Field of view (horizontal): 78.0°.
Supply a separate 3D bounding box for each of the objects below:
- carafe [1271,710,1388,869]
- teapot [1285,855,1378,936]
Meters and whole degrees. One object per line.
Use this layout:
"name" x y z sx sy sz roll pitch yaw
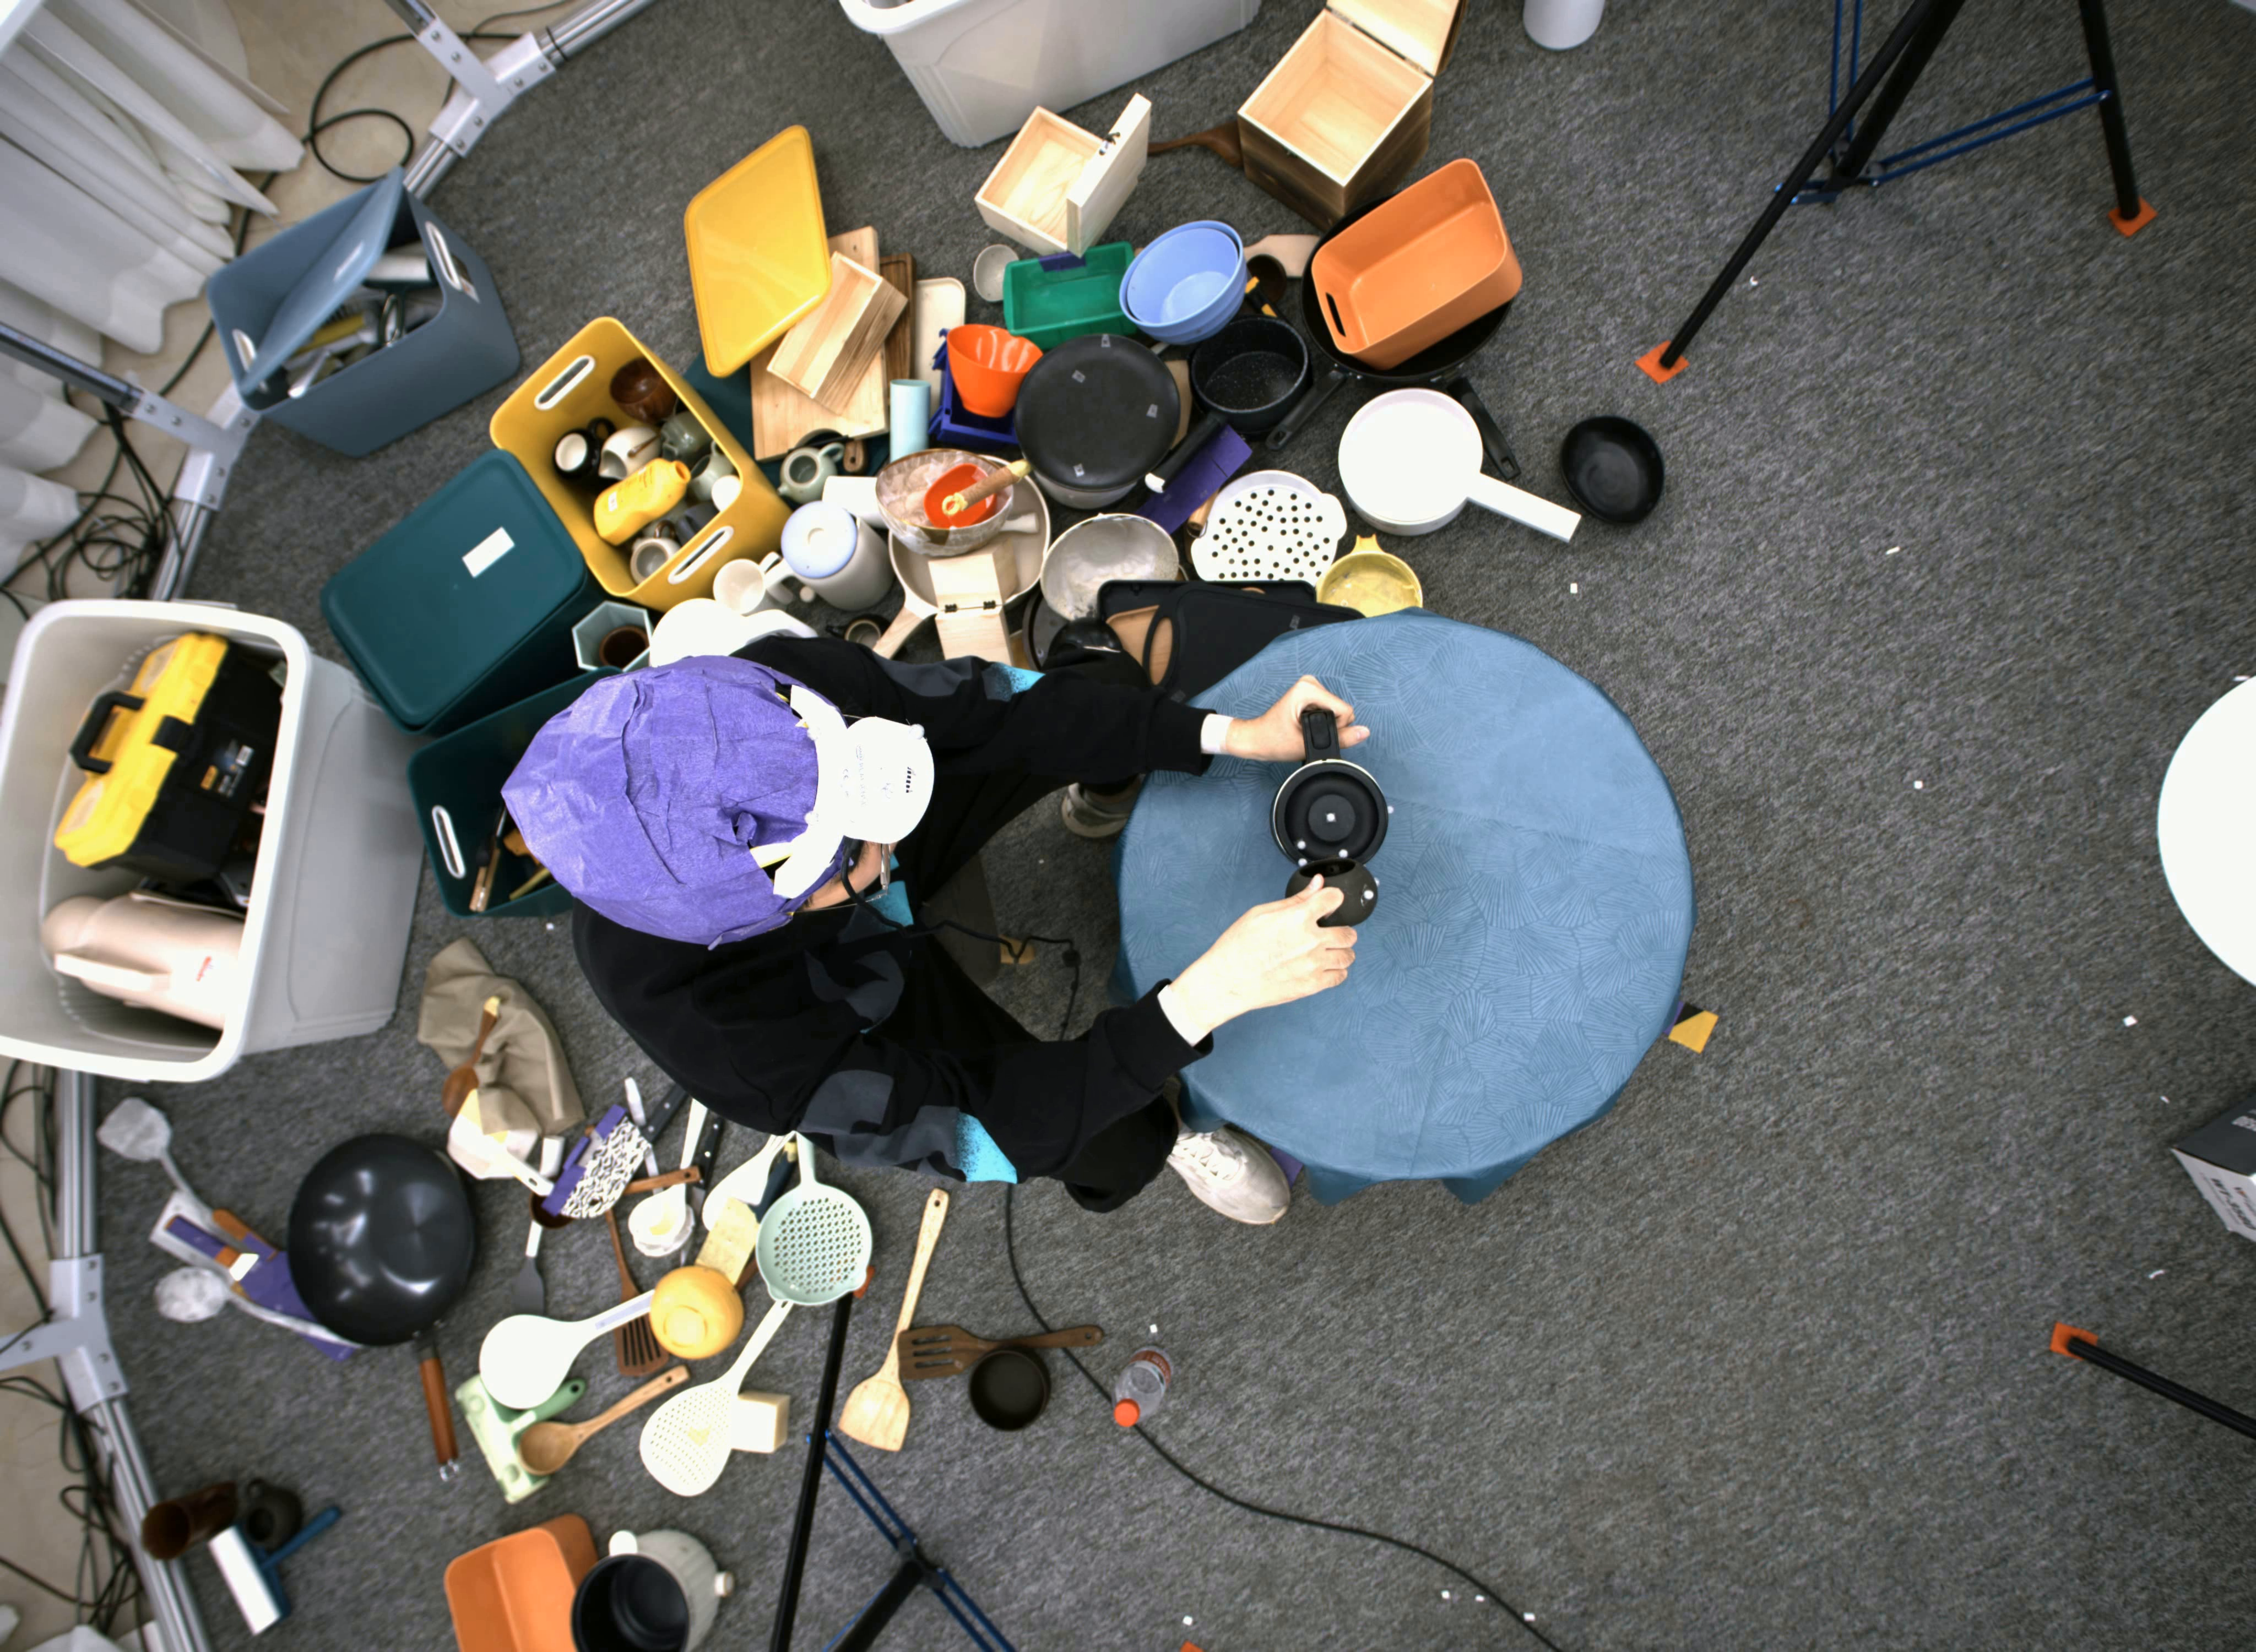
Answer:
"carafe" 0.194 -0.031 1.365 0.115 0.172 0.172 -8 92 8
"teapot" 0.177 0.063 1.224 0.083 0.112 0.053 -3 105 24
